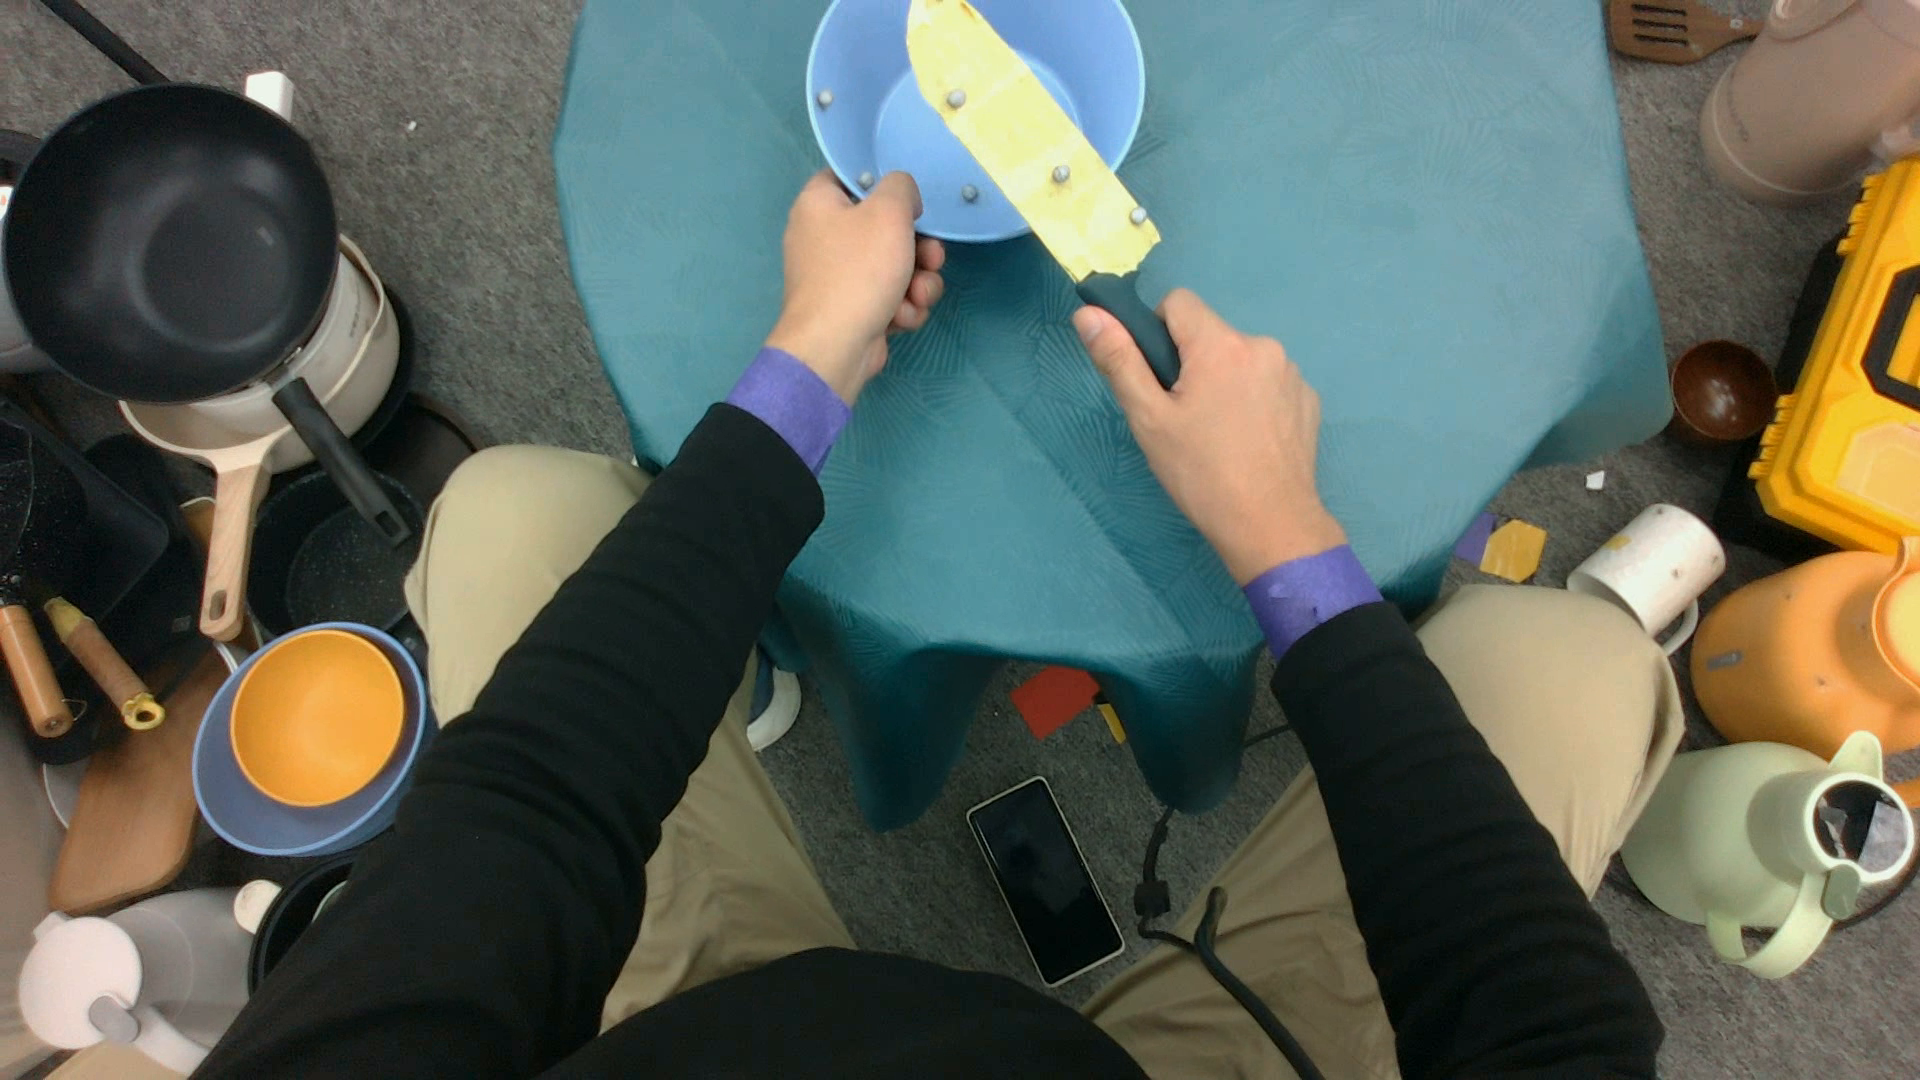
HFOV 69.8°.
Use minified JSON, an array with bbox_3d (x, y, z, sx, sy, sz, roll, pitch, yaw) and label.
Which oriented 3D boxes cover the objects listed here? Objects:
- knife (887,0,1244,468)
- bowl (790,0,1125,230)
[{"bbox_3d":[0.057,-0.157,0.684,0.289,0.027,0.081,52,53,-9],"label":"knife"},{"bbox_3d":[-0.001,-0.237,0.749,0.176,0.070,0.176,0,77,1],"label":"bowl"}]
